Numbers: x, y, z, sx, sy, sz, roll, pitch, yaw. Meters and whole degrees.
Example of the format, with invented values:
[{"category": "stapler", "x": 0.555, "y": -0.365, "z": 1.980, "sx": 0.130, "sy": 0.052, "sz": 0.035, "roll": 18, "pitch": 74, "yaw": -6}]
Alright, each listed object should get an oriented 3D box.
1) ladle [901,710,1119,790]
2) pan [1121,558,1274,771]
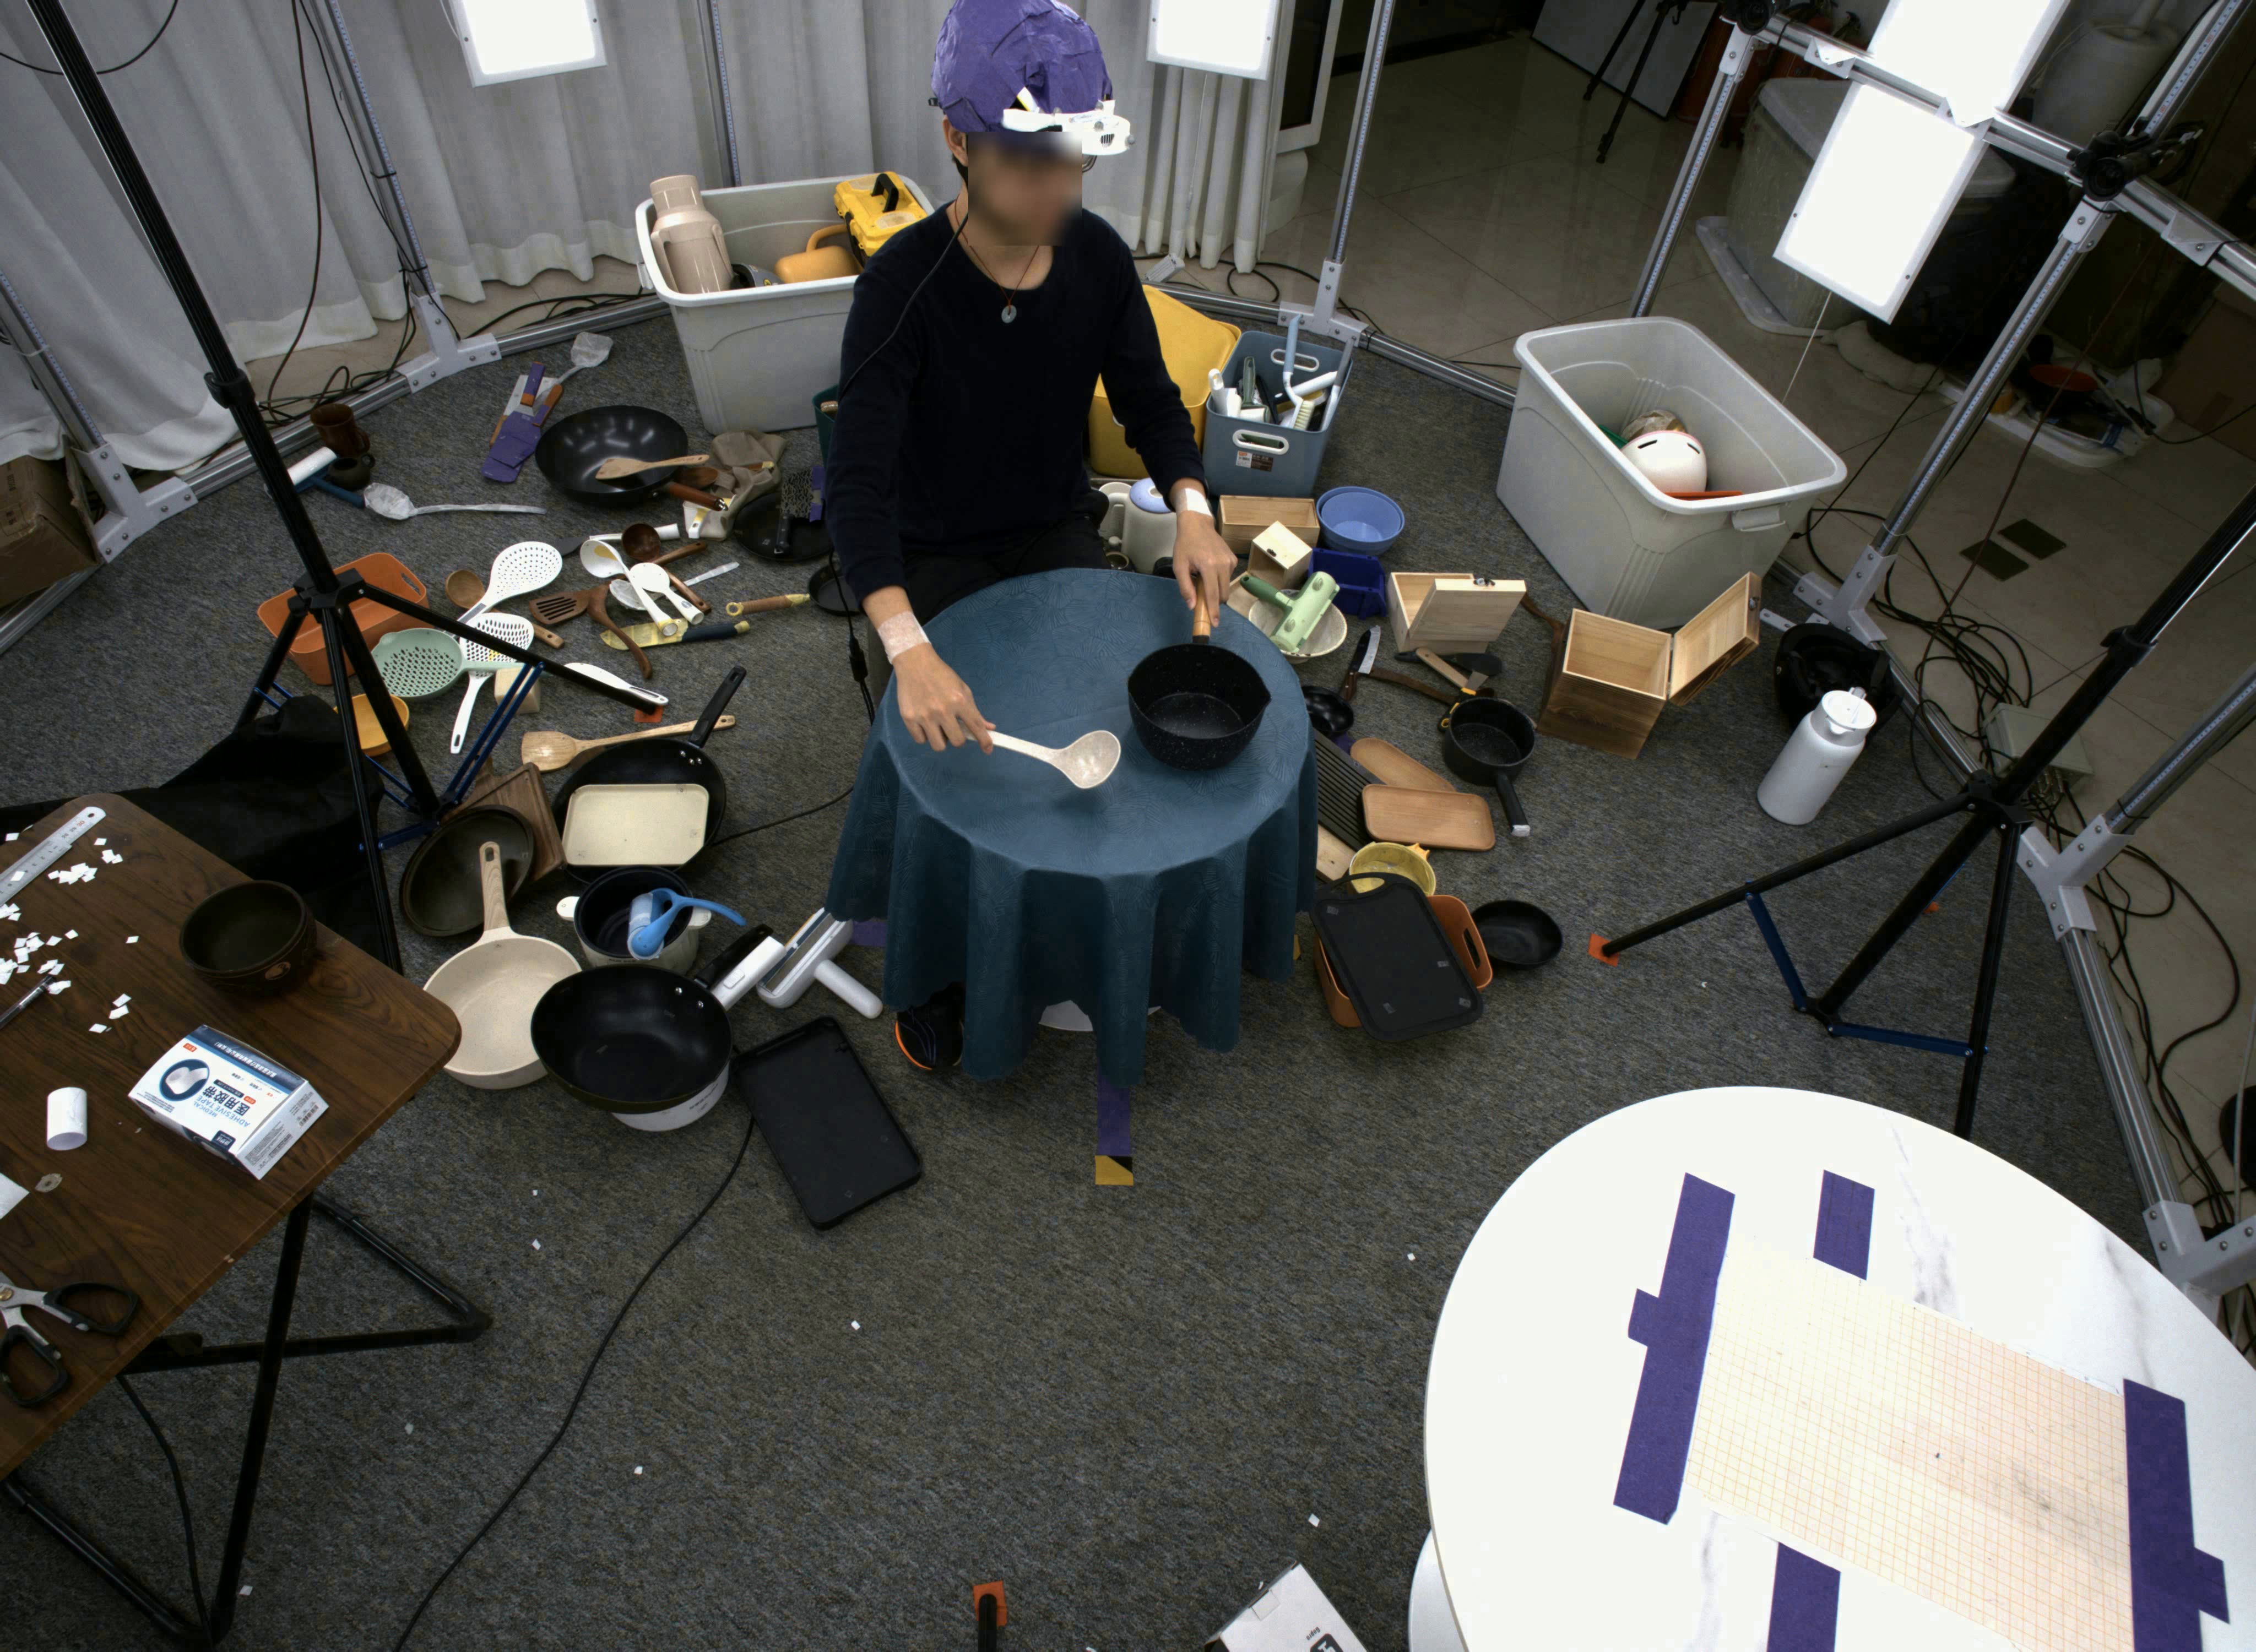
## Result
[{"category": "ladle", "x": -0.146, "y": -0.115, "z": 1.628, "sx": 0.273, "sy": 0.068, "sz": 0.091, "roll": 17, "pitch": 61, "yaw": -17}, {"category": "pan", "x": 0.097, "y": -0.227, "z": 1.803, "sx": 0.207, "sy": 0.105, "sz": 0.351, "roll": 4, "pitch": 50, "yaw": 1}]
